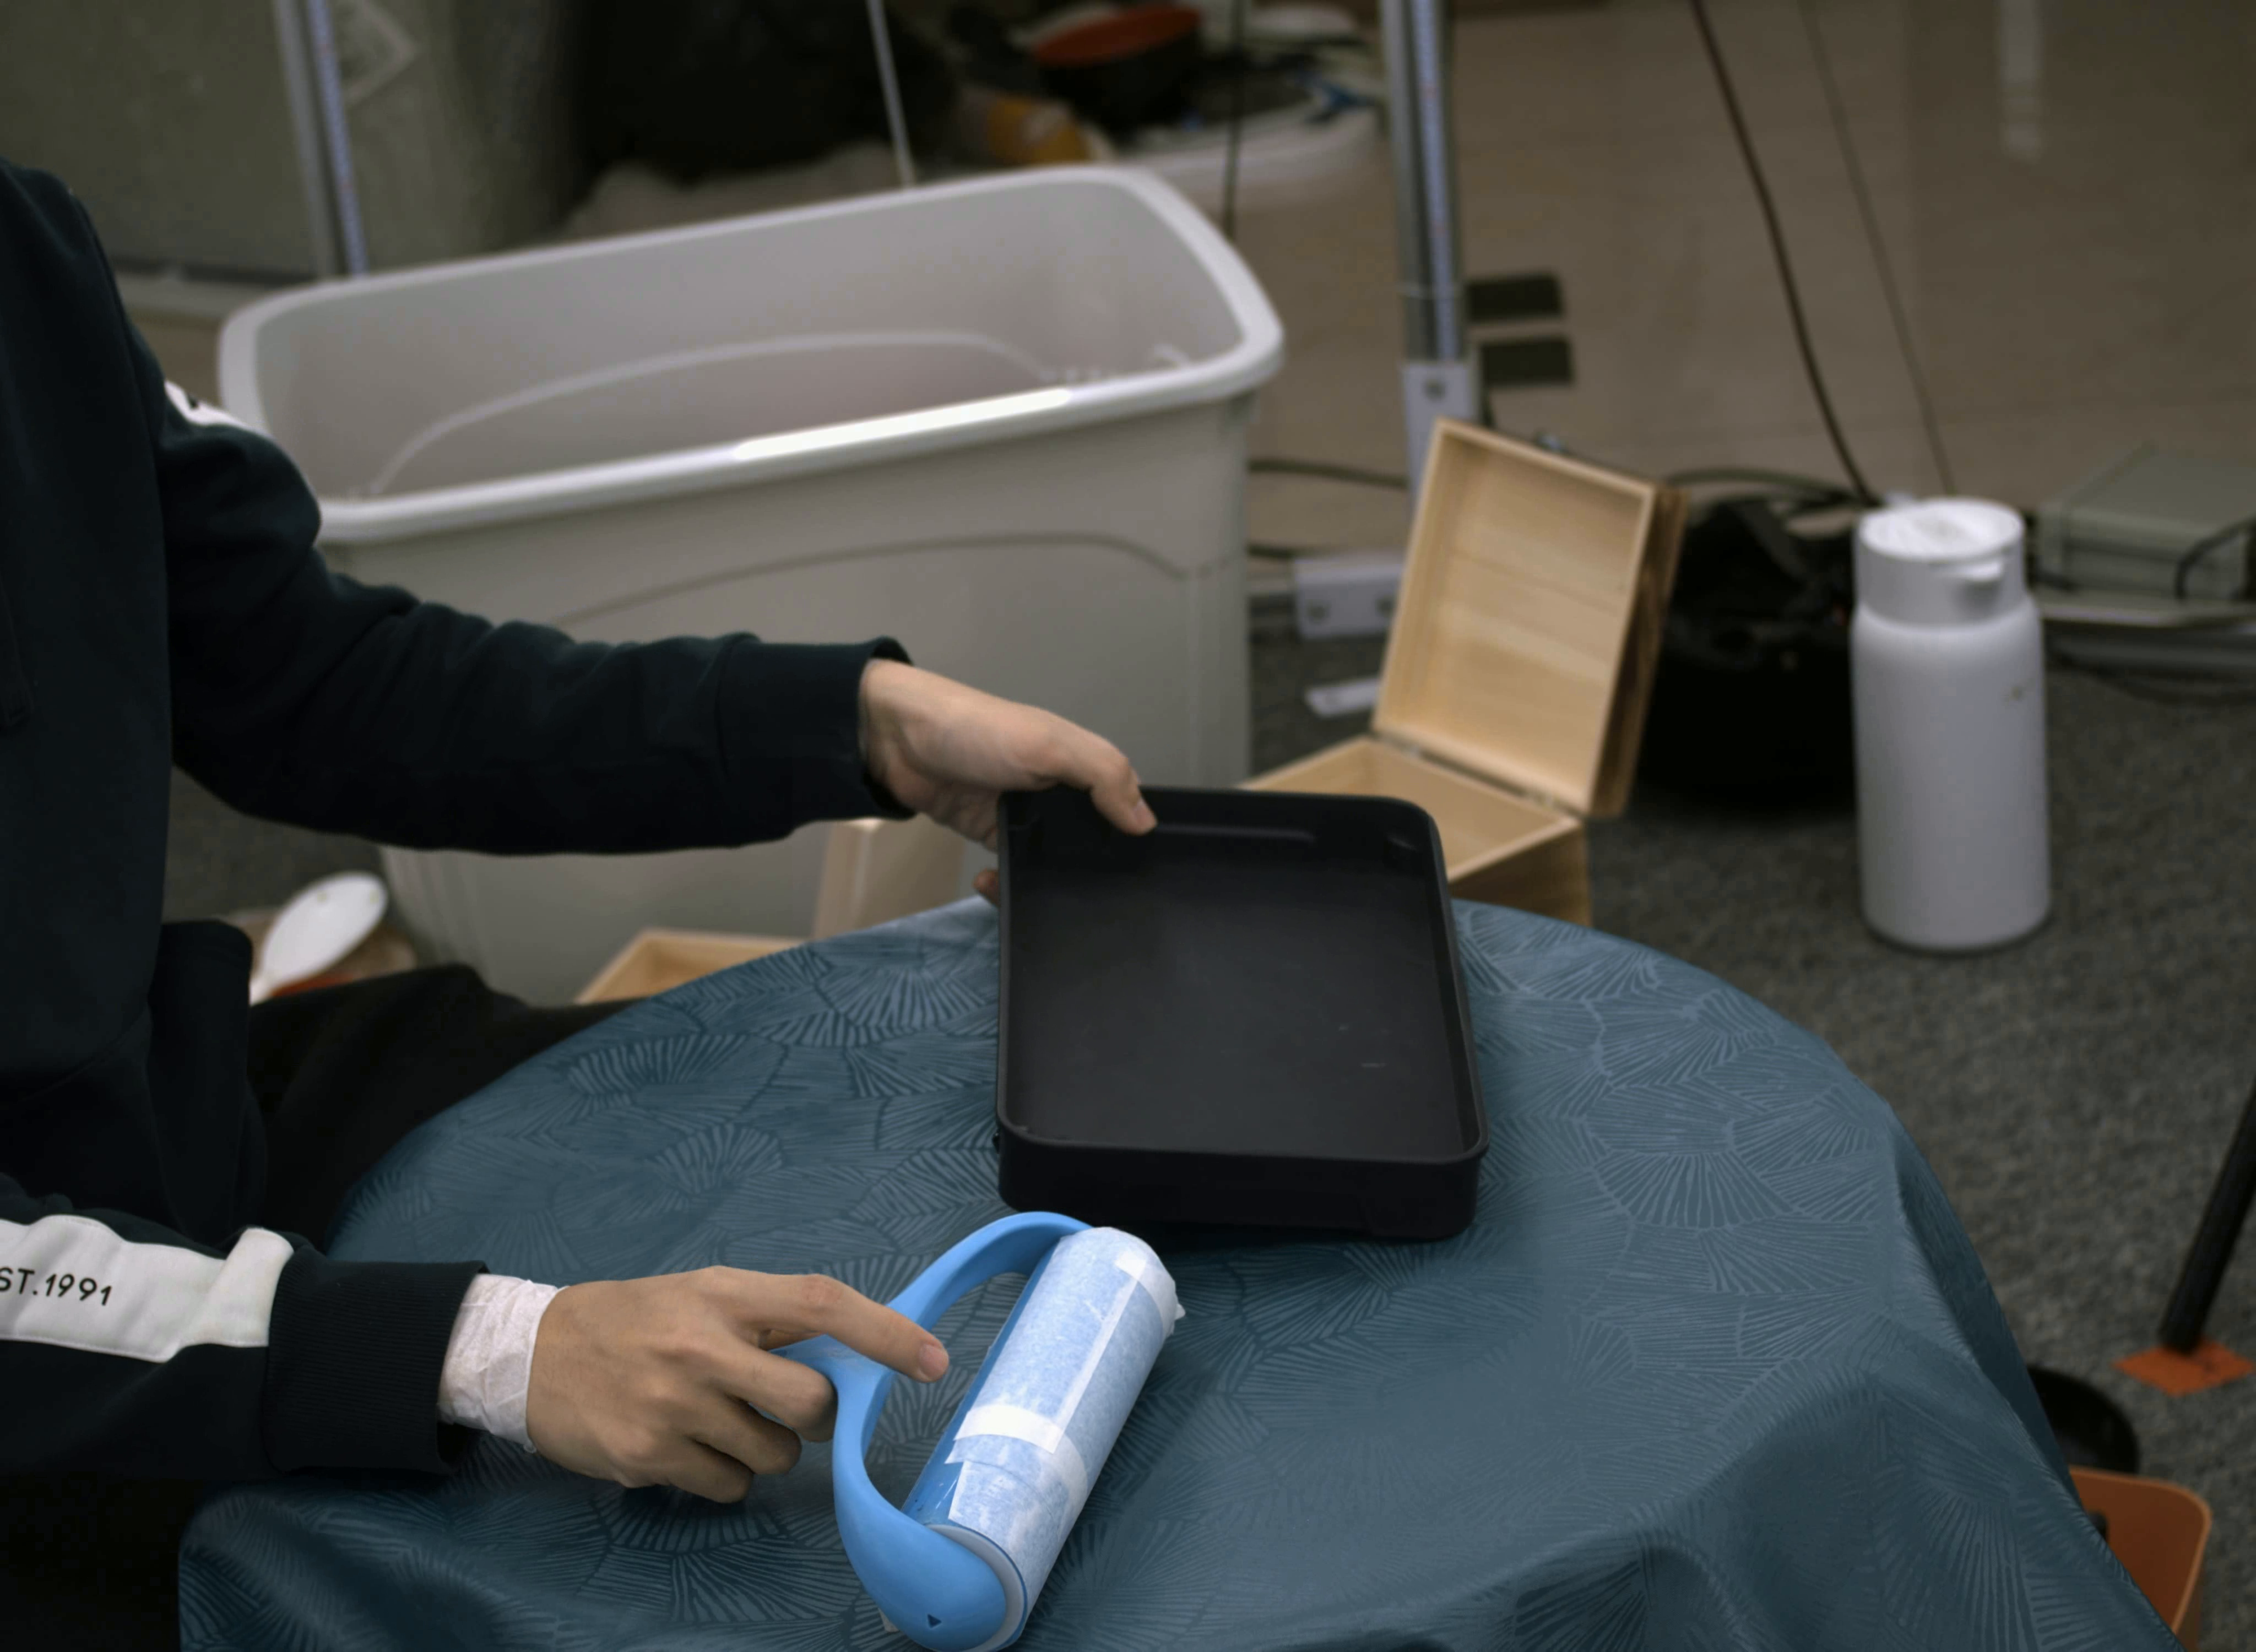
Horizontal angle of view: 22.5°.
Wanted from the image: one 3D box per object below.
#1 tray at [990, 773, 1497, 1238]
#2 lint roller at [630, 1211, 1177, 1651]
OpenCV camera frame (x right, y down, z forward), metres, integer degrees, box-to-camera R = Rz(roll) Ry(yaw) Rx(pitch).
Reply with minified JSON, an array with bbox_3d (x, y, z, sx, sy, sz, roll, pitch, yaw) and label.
[{"bbox_3d":[0.039,0.065,2.215,0.184,0.037,0.313,2,27,-3],"label":"tray"},{"bbox_3d":[-0.090,0.206,1.955,0.180,0.069,0.225,1,28,13],"label":"lint roller"}]
